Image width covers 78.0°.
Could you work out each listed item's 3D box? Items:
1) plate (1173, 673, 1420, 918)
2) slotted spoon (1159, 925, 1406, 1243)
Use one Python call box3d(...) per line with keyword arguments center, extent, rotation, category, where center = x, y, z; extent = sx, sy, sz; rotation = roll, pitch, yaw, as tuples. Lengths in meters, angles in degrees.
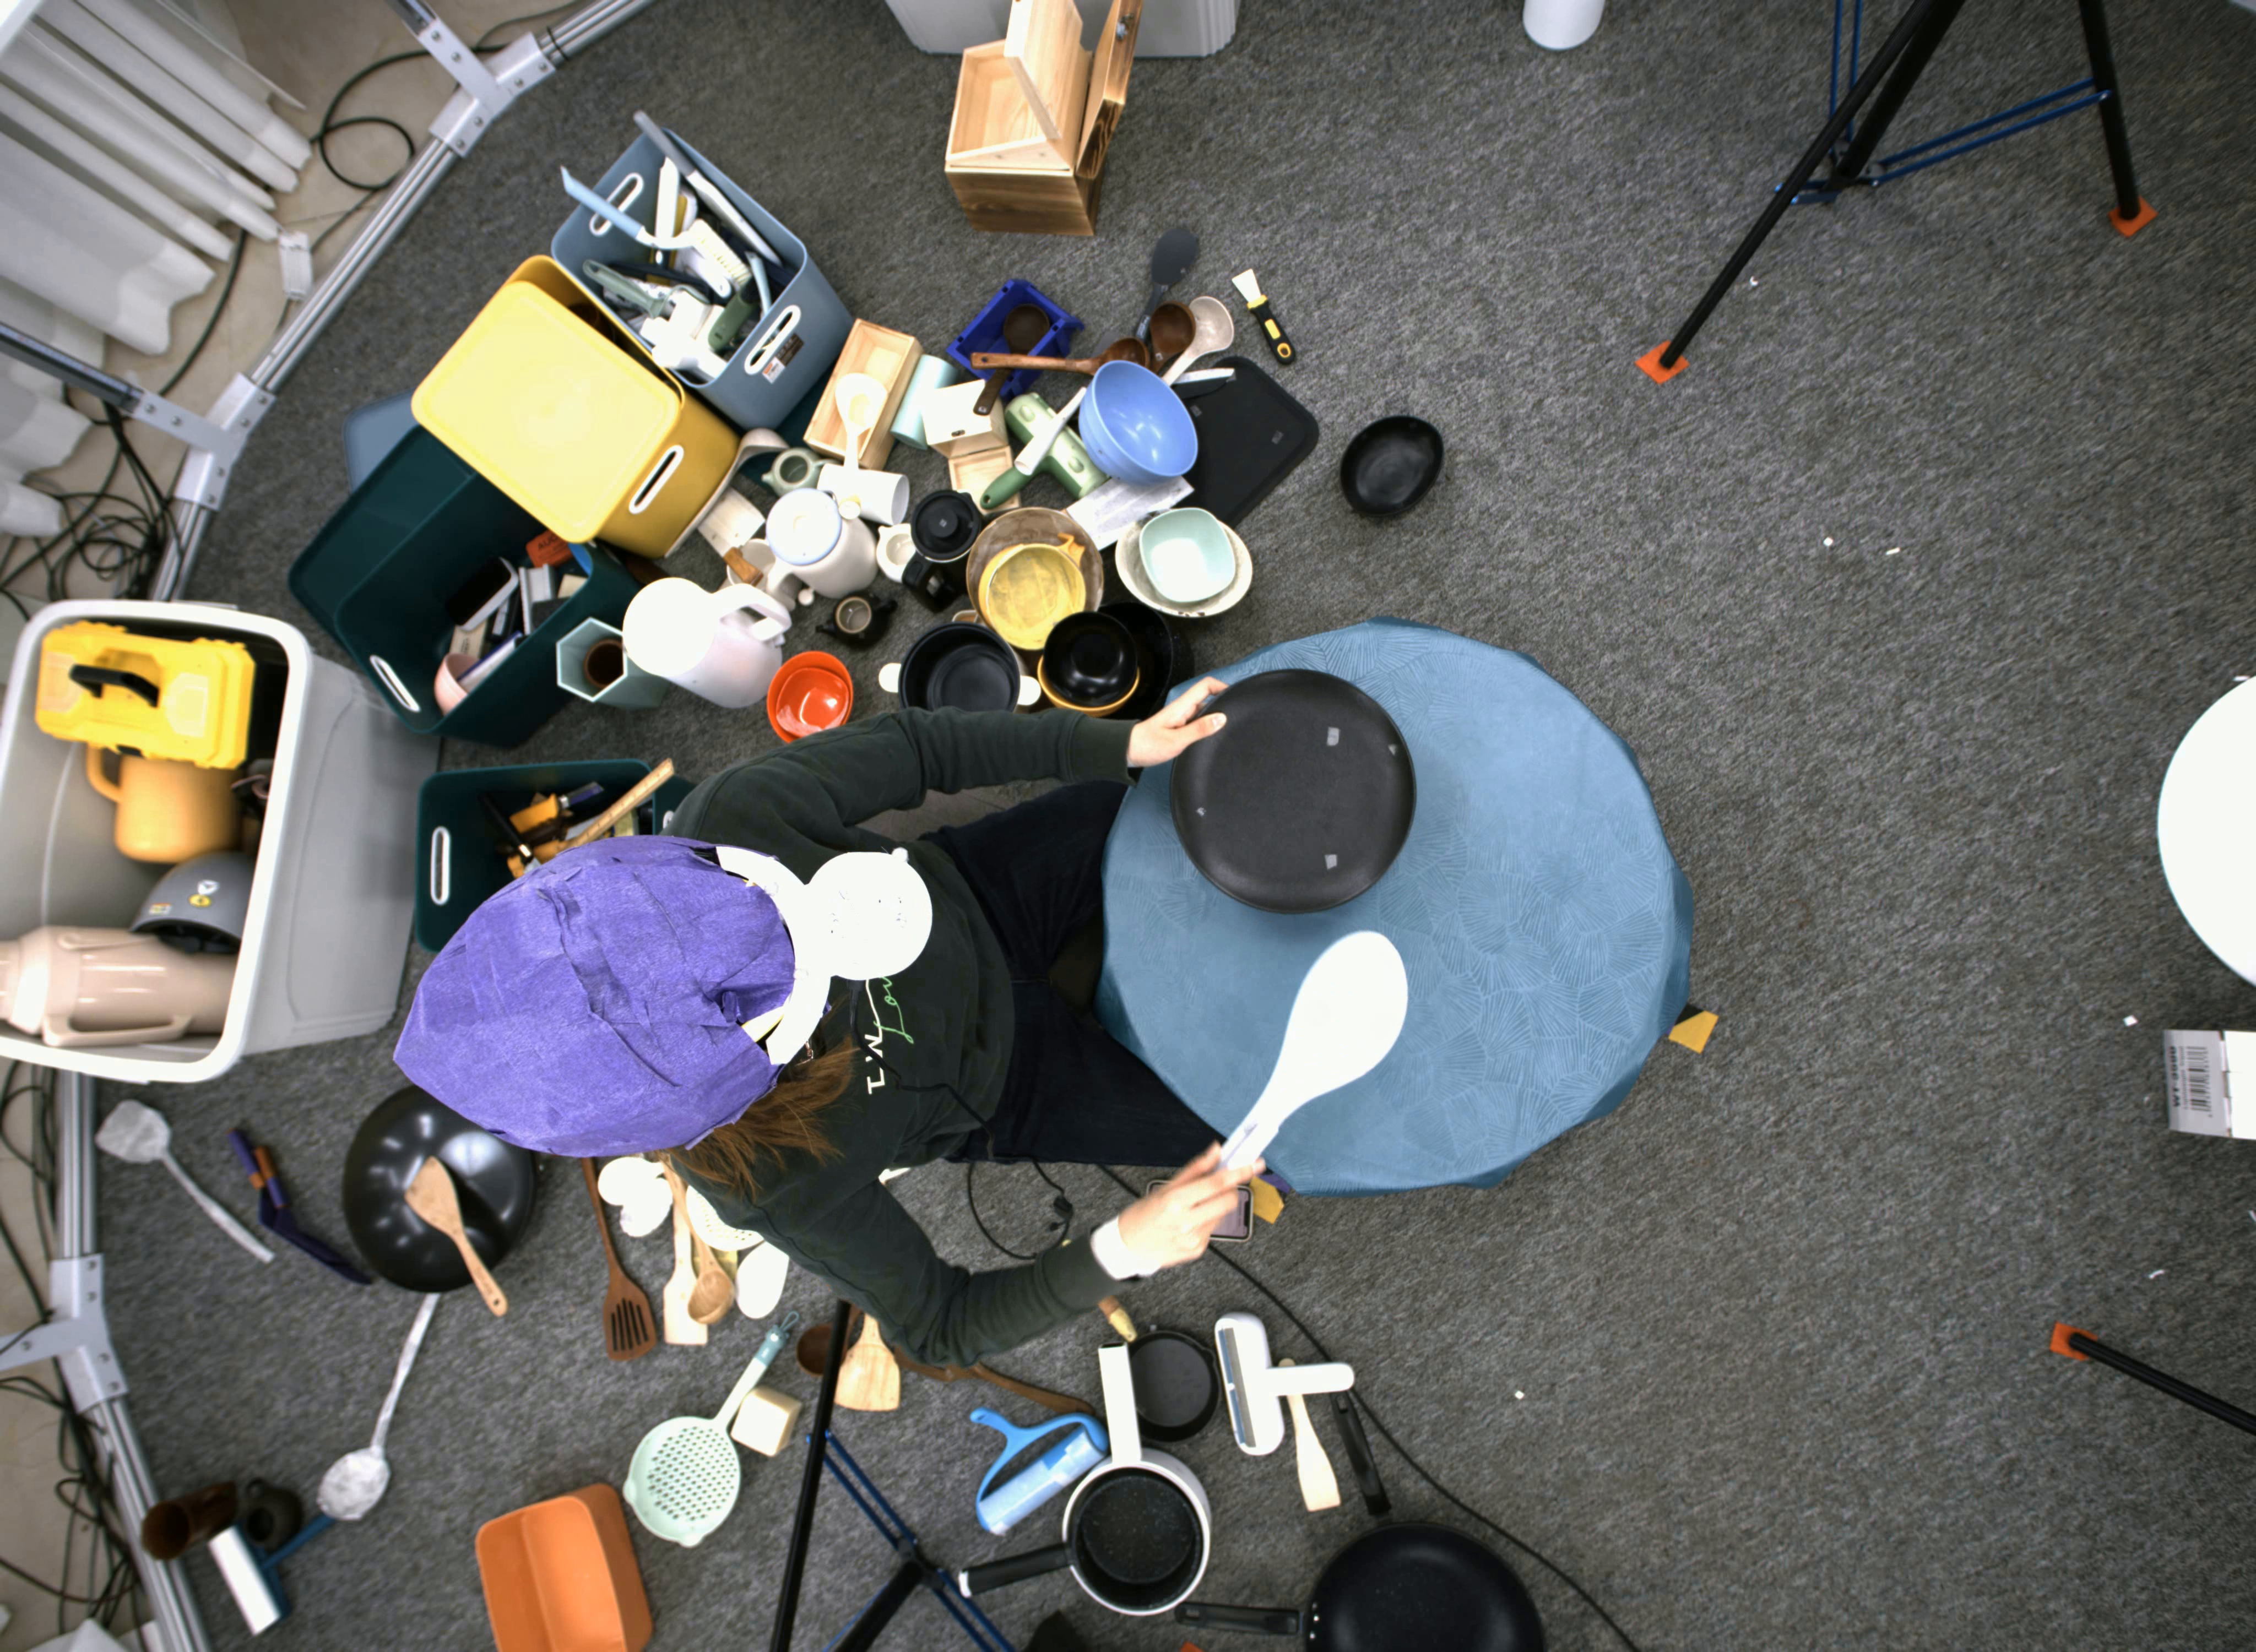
box3d(center=(0.167, -0.031, 1.373), extent=(0.245, 0.023, 0.246), rotation=(1, 98, 10), category="plate")
box3d(center=(0.130, 0.235, 1.211), extent=(0.046, 0.133, 0.354), rotation=(30, 109, -28), category="slotted spoon")
